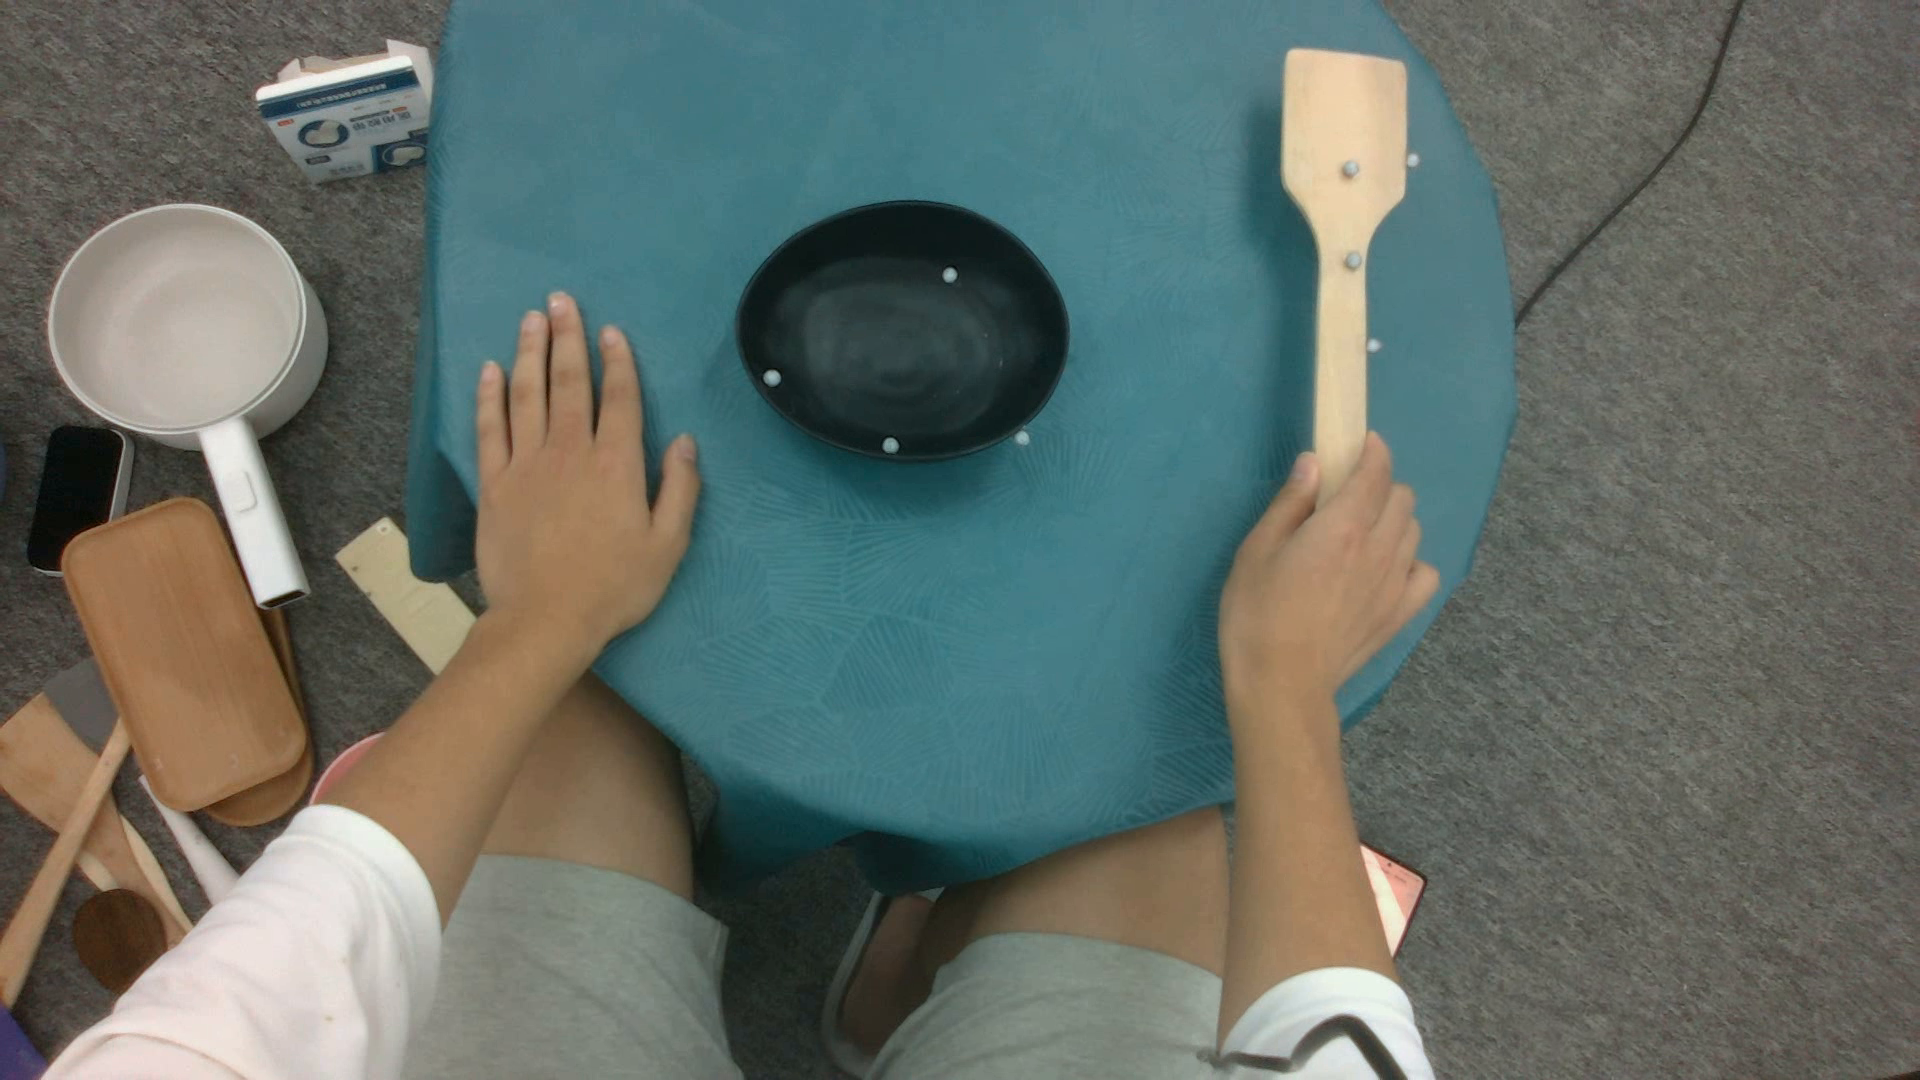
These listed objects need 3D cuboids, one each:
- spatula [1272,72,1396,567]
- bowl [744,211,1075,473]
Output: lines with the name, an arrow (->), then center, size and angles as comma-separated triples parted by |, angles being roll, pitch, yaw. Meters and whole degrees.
spatula -> 0.207, -0.126, 0.756 | 0.072, 0.010, 0.294 | 5, 74, -4
bowl -> -0.027, -0.097, 0.728 | 0.170, 0.066, 0.137 | -2, 79, -5
